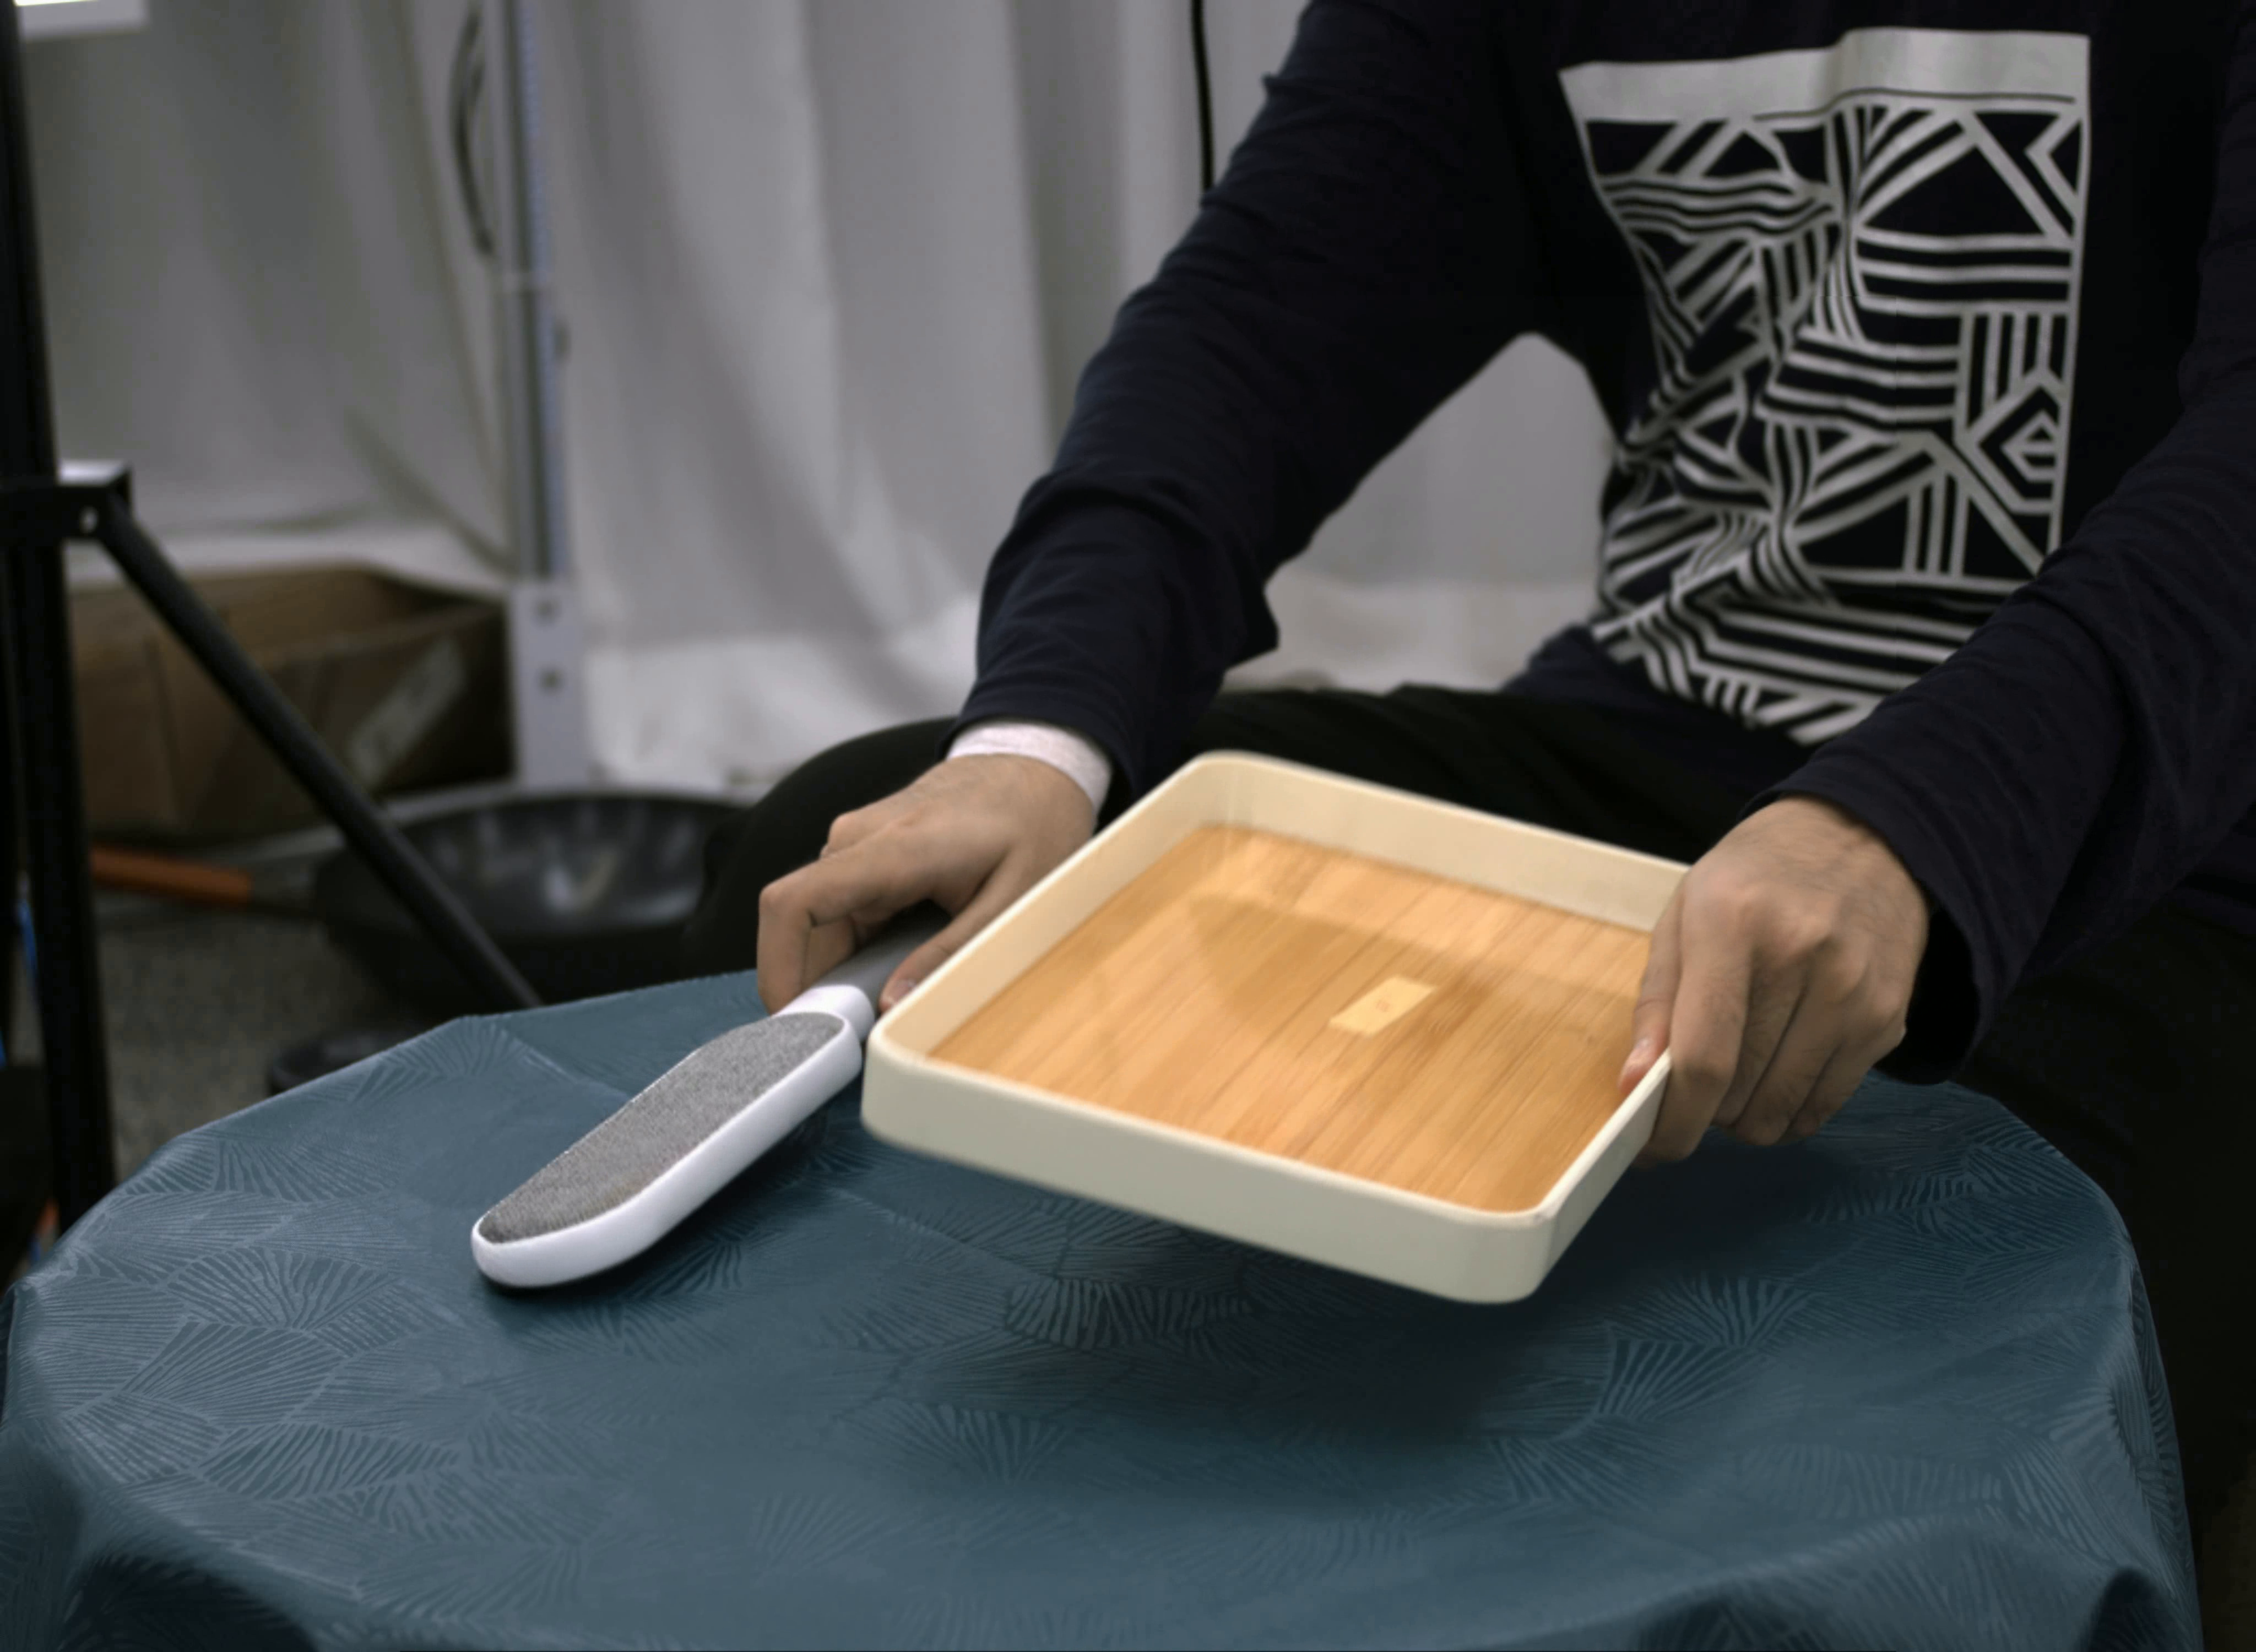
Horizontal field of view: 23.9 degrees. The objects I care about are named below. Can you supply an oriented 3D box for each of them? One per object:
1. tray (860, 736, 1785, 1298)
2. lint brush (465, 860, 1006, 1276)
[{"bbox_3d":[0.063,0.047,1.495,0.193,0.027,0.296,17,21,17],"label":"tray"},{"bbox_3d":[-0.109,0.069,1.620,0.061,0.021,0.305,-16,12,30],"label":"lint brush"}]
